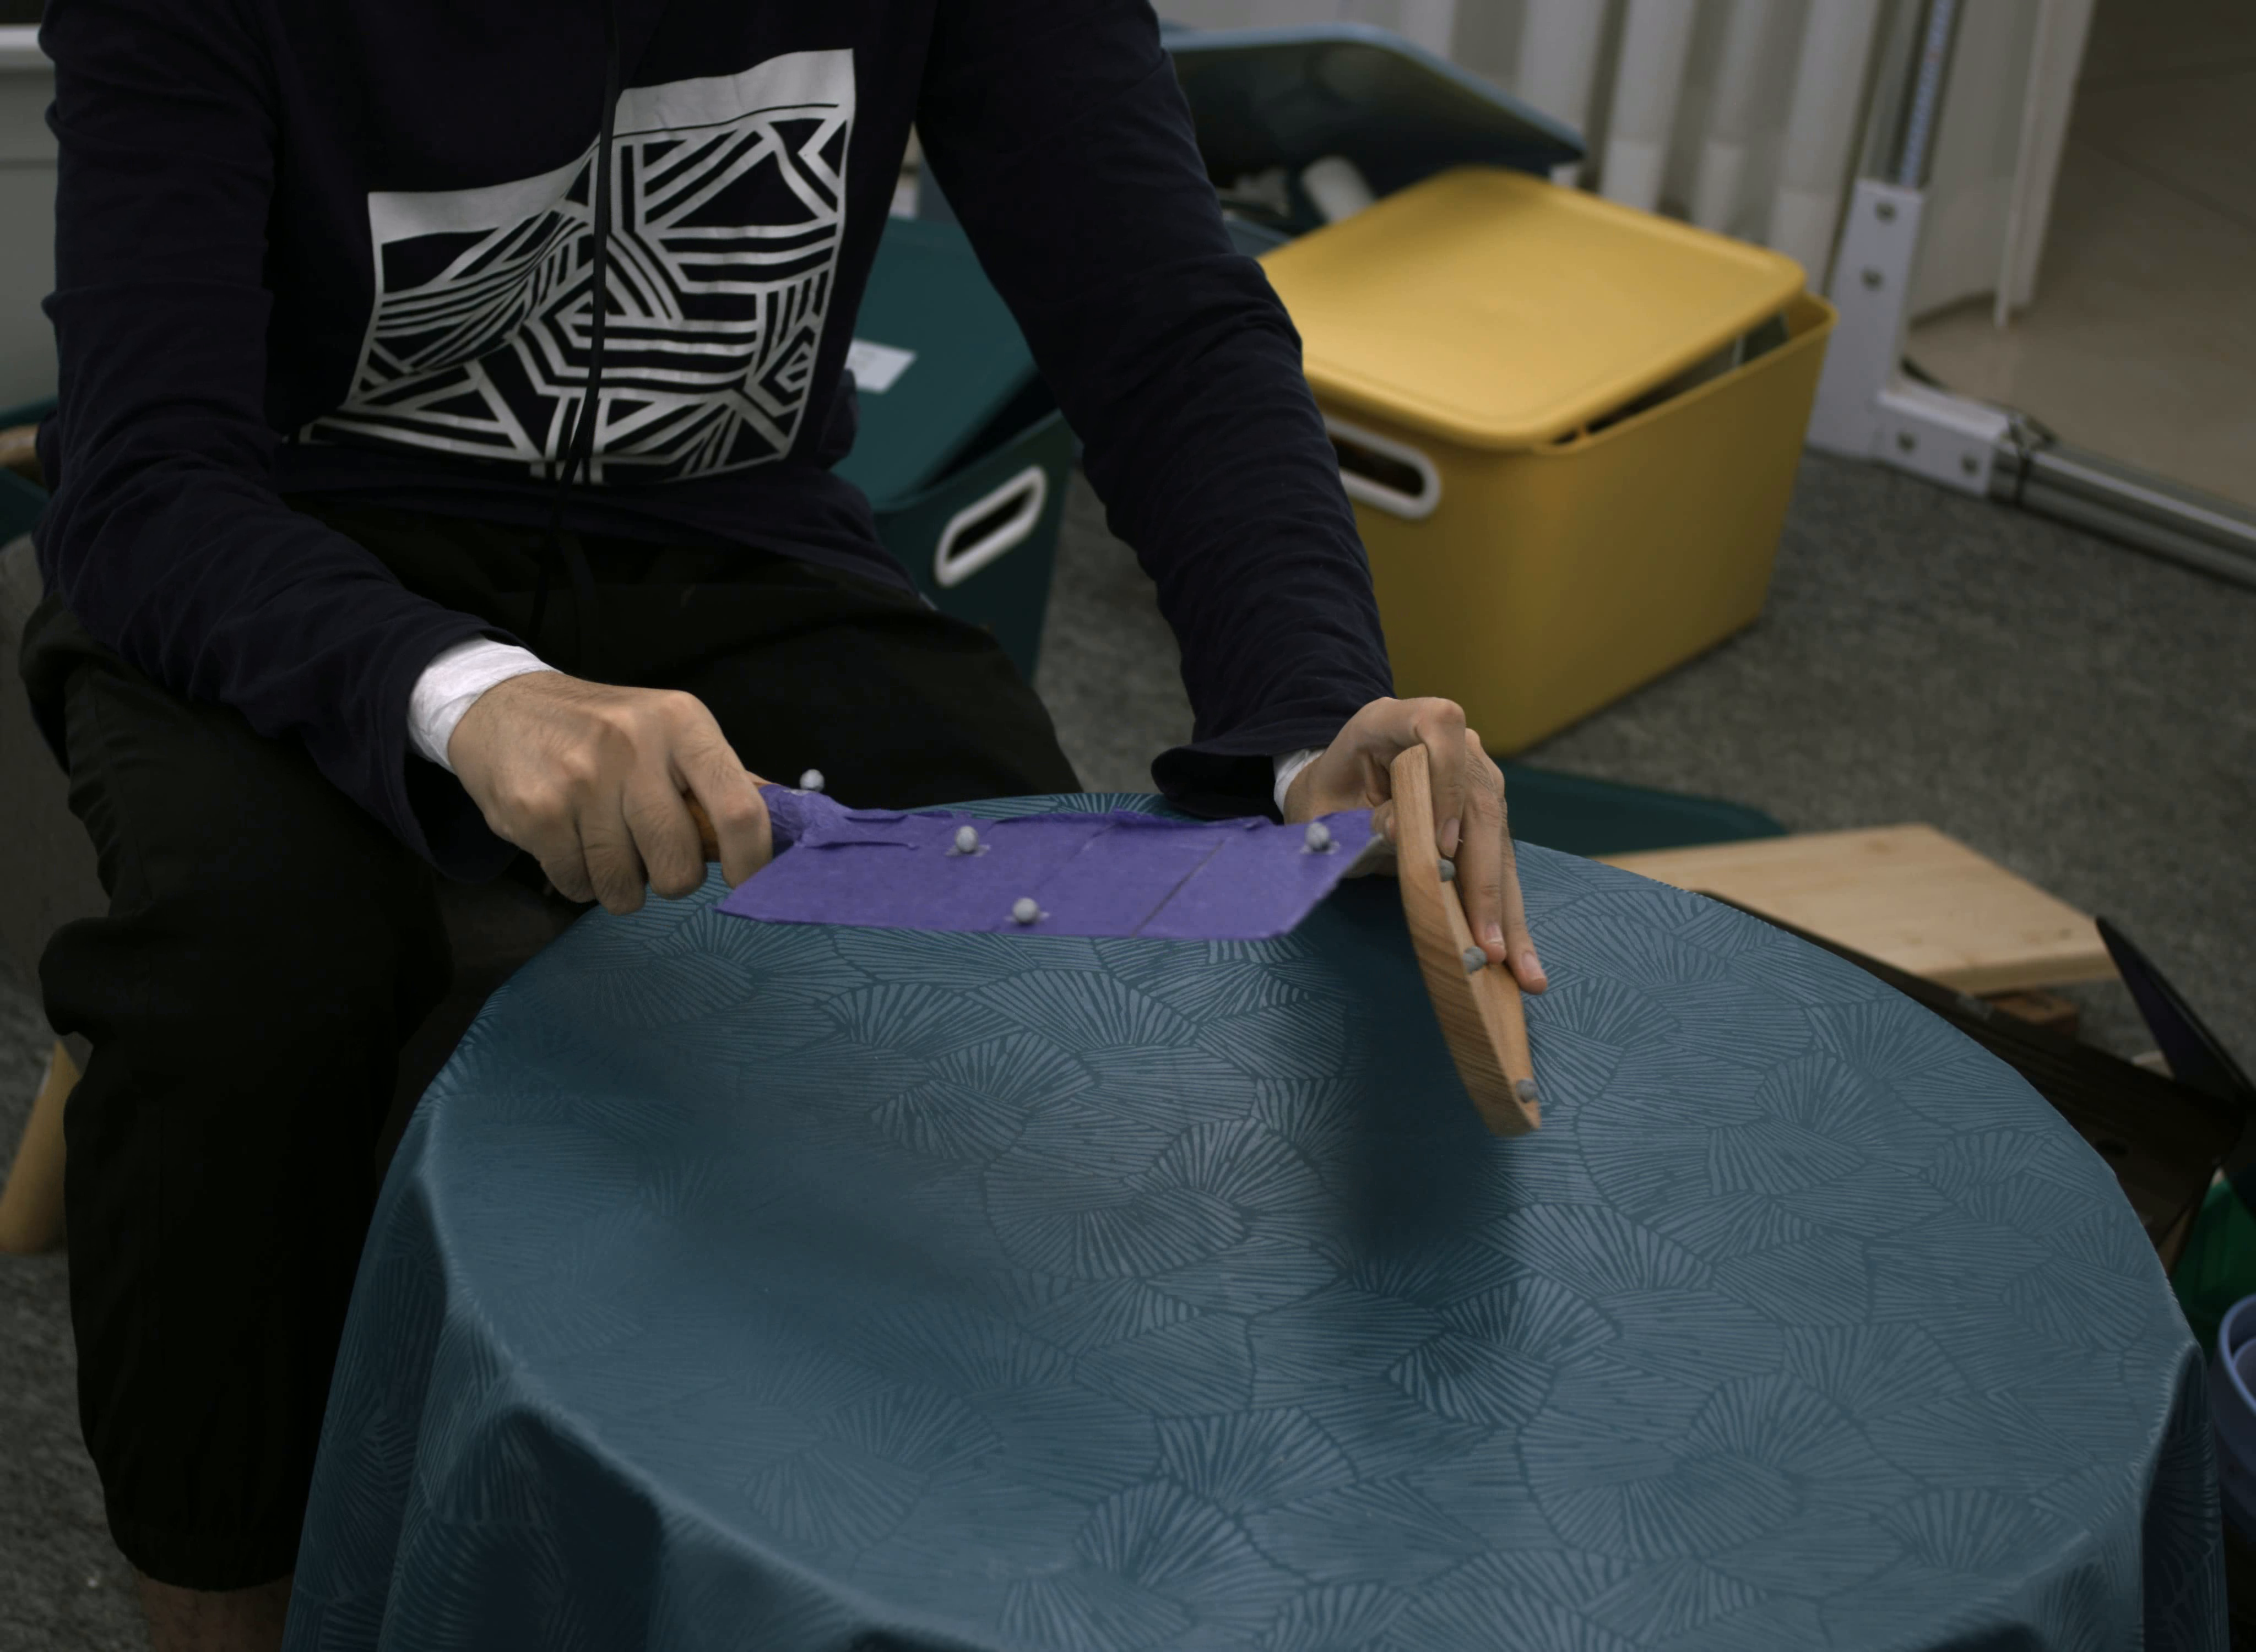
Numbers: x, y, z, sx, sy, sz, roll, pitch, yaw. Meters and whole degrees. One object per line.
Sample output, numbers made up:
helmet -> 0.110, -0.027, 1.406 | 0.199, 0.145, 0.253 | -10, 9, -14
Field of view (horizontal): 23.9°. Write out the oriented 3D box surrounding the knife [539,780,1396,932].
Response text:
knife -> -0.072, 0.010, 1.753 | 0.316, 0.032, 0.104 | -1, 21, 27

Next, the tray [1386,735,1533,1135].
tray -> 0.113, 0.037, 1.853 | 0.020, 0.101, 0.232 | -18, 16, 5
